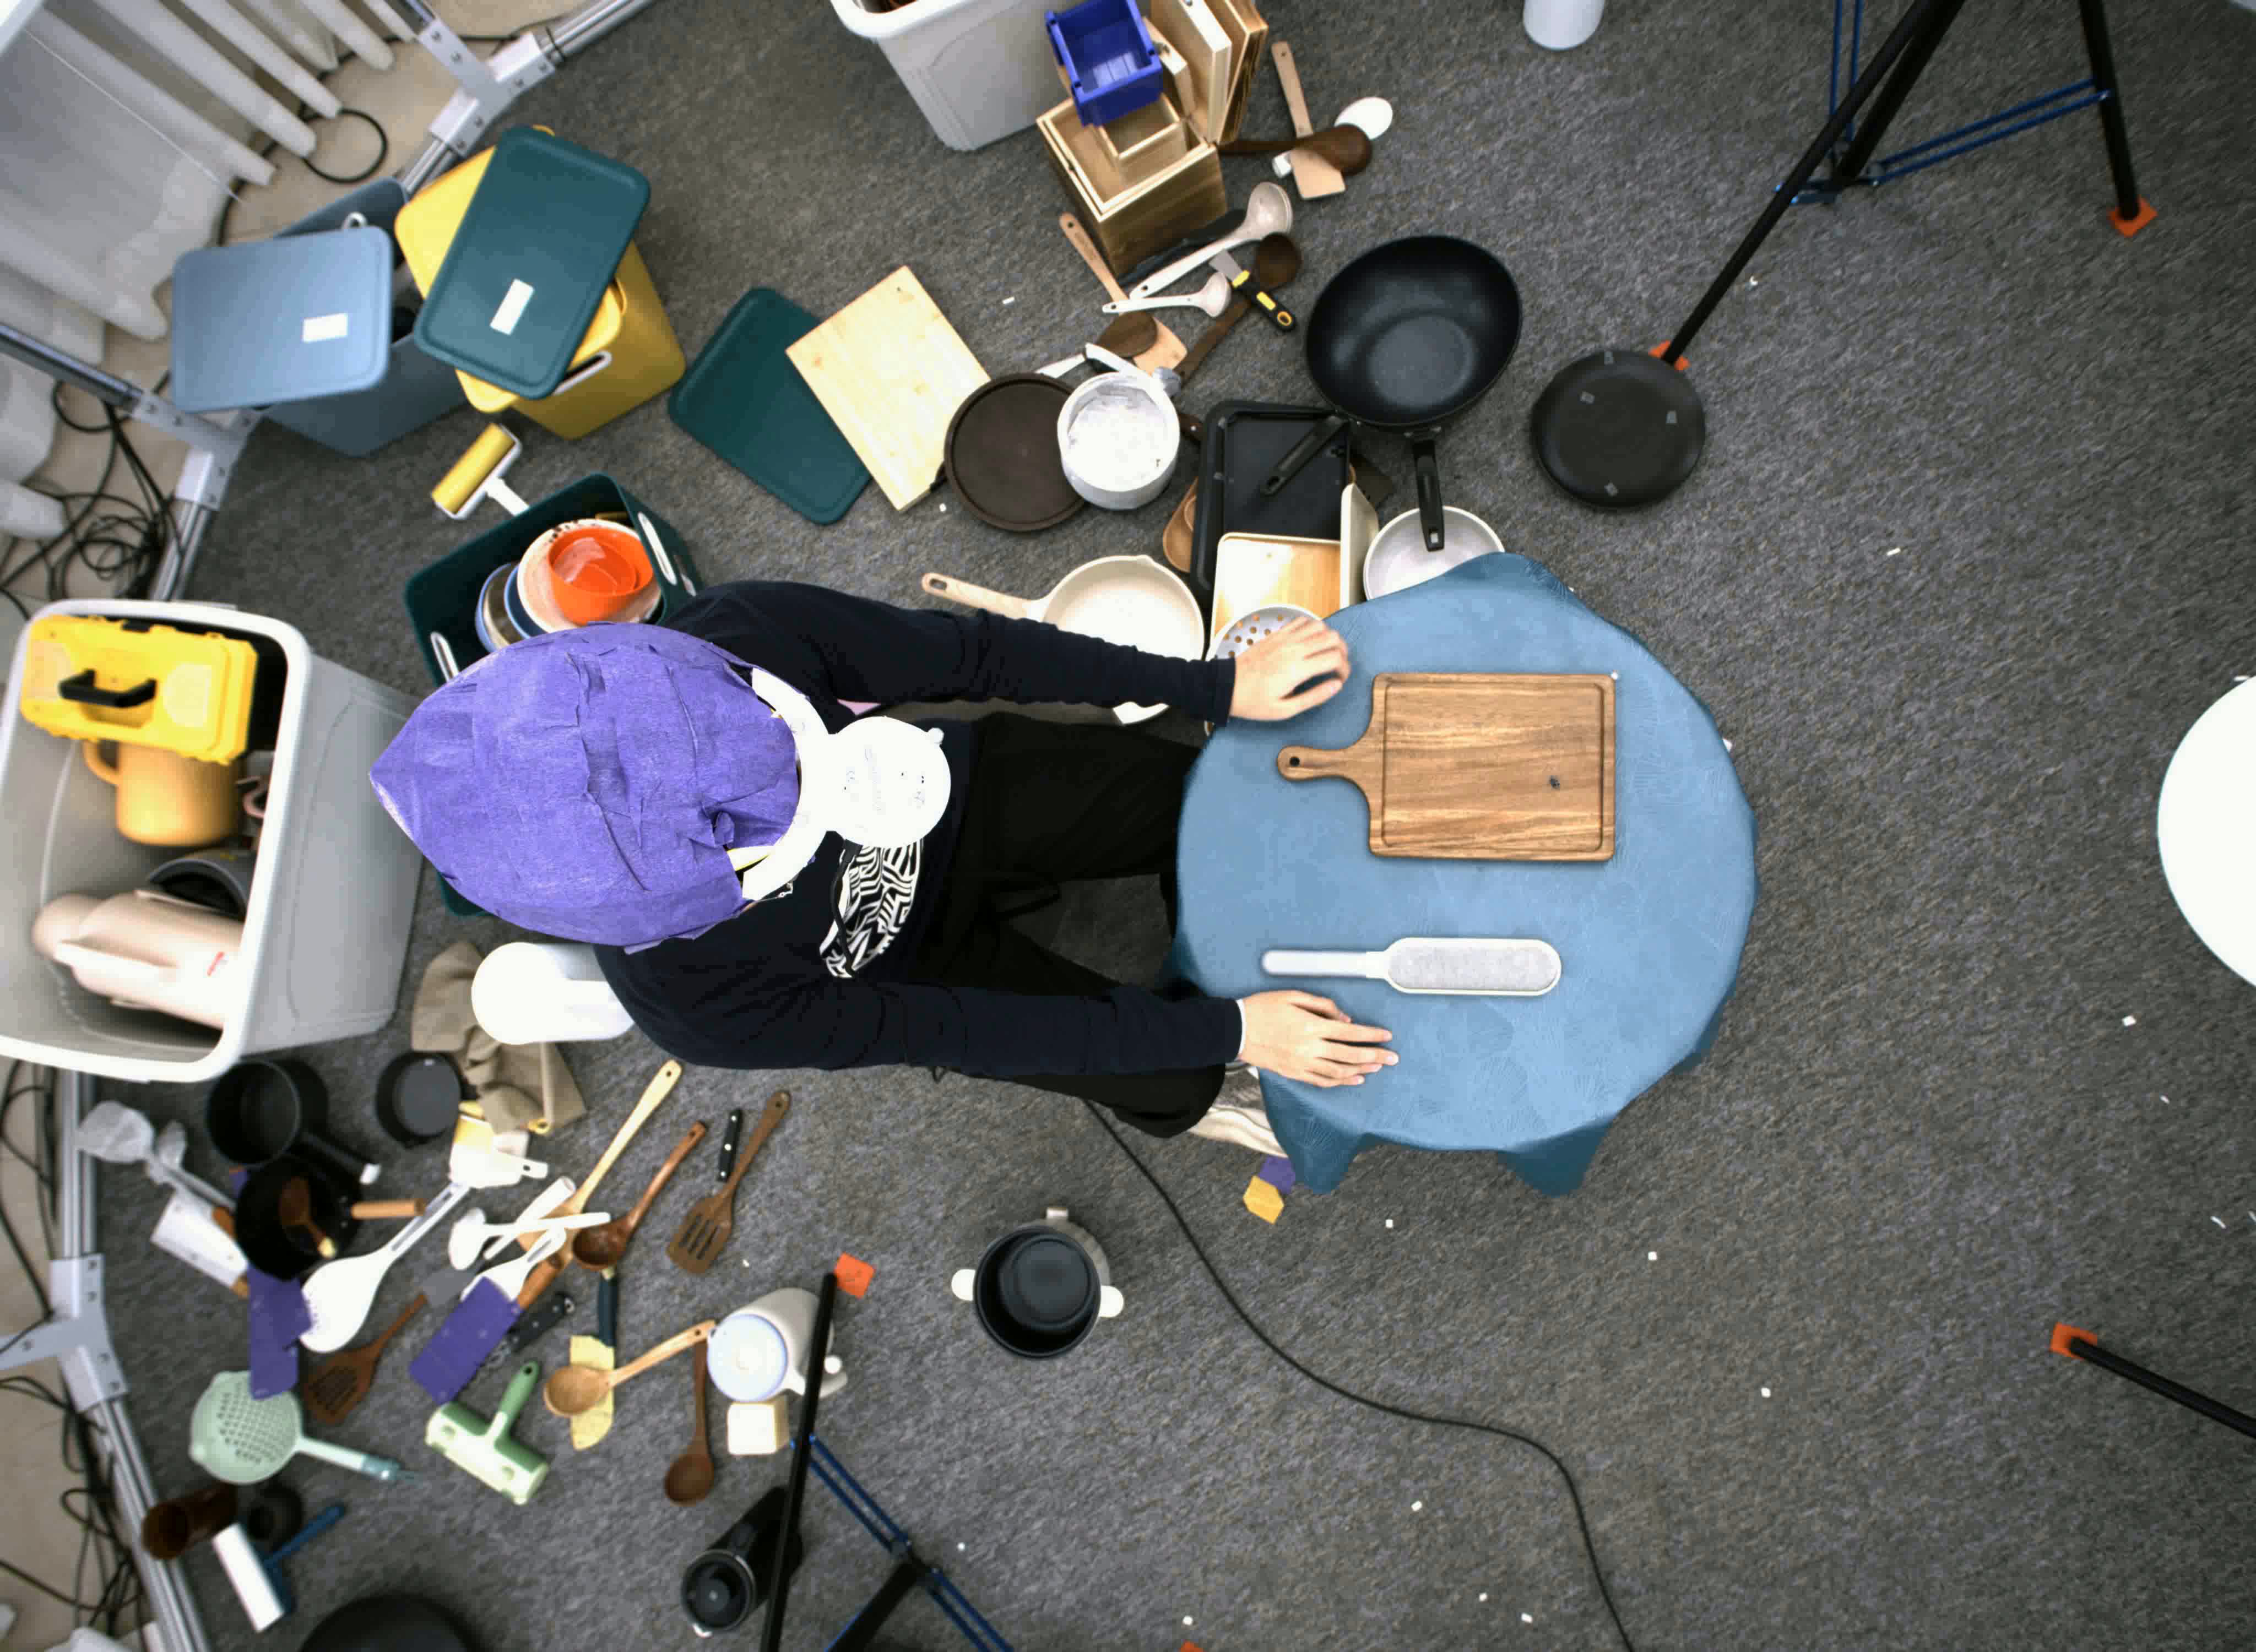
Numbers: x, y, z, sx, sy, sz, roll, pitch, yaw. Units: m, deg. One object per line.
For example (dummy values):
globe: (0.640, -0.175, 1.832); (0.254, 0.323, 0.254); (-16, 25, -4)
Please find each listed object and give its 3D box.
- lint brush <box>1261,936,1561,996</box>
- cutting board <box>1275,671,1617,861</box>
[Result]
lint brush: (0.293, 0.142, 1.438); (0.310, 0.021, 0.060); (0, 92, 11)
cutting board: (0.331, -0.066, 1.446); (0.353, 0.023, 0.200); (1, 87, 11)
